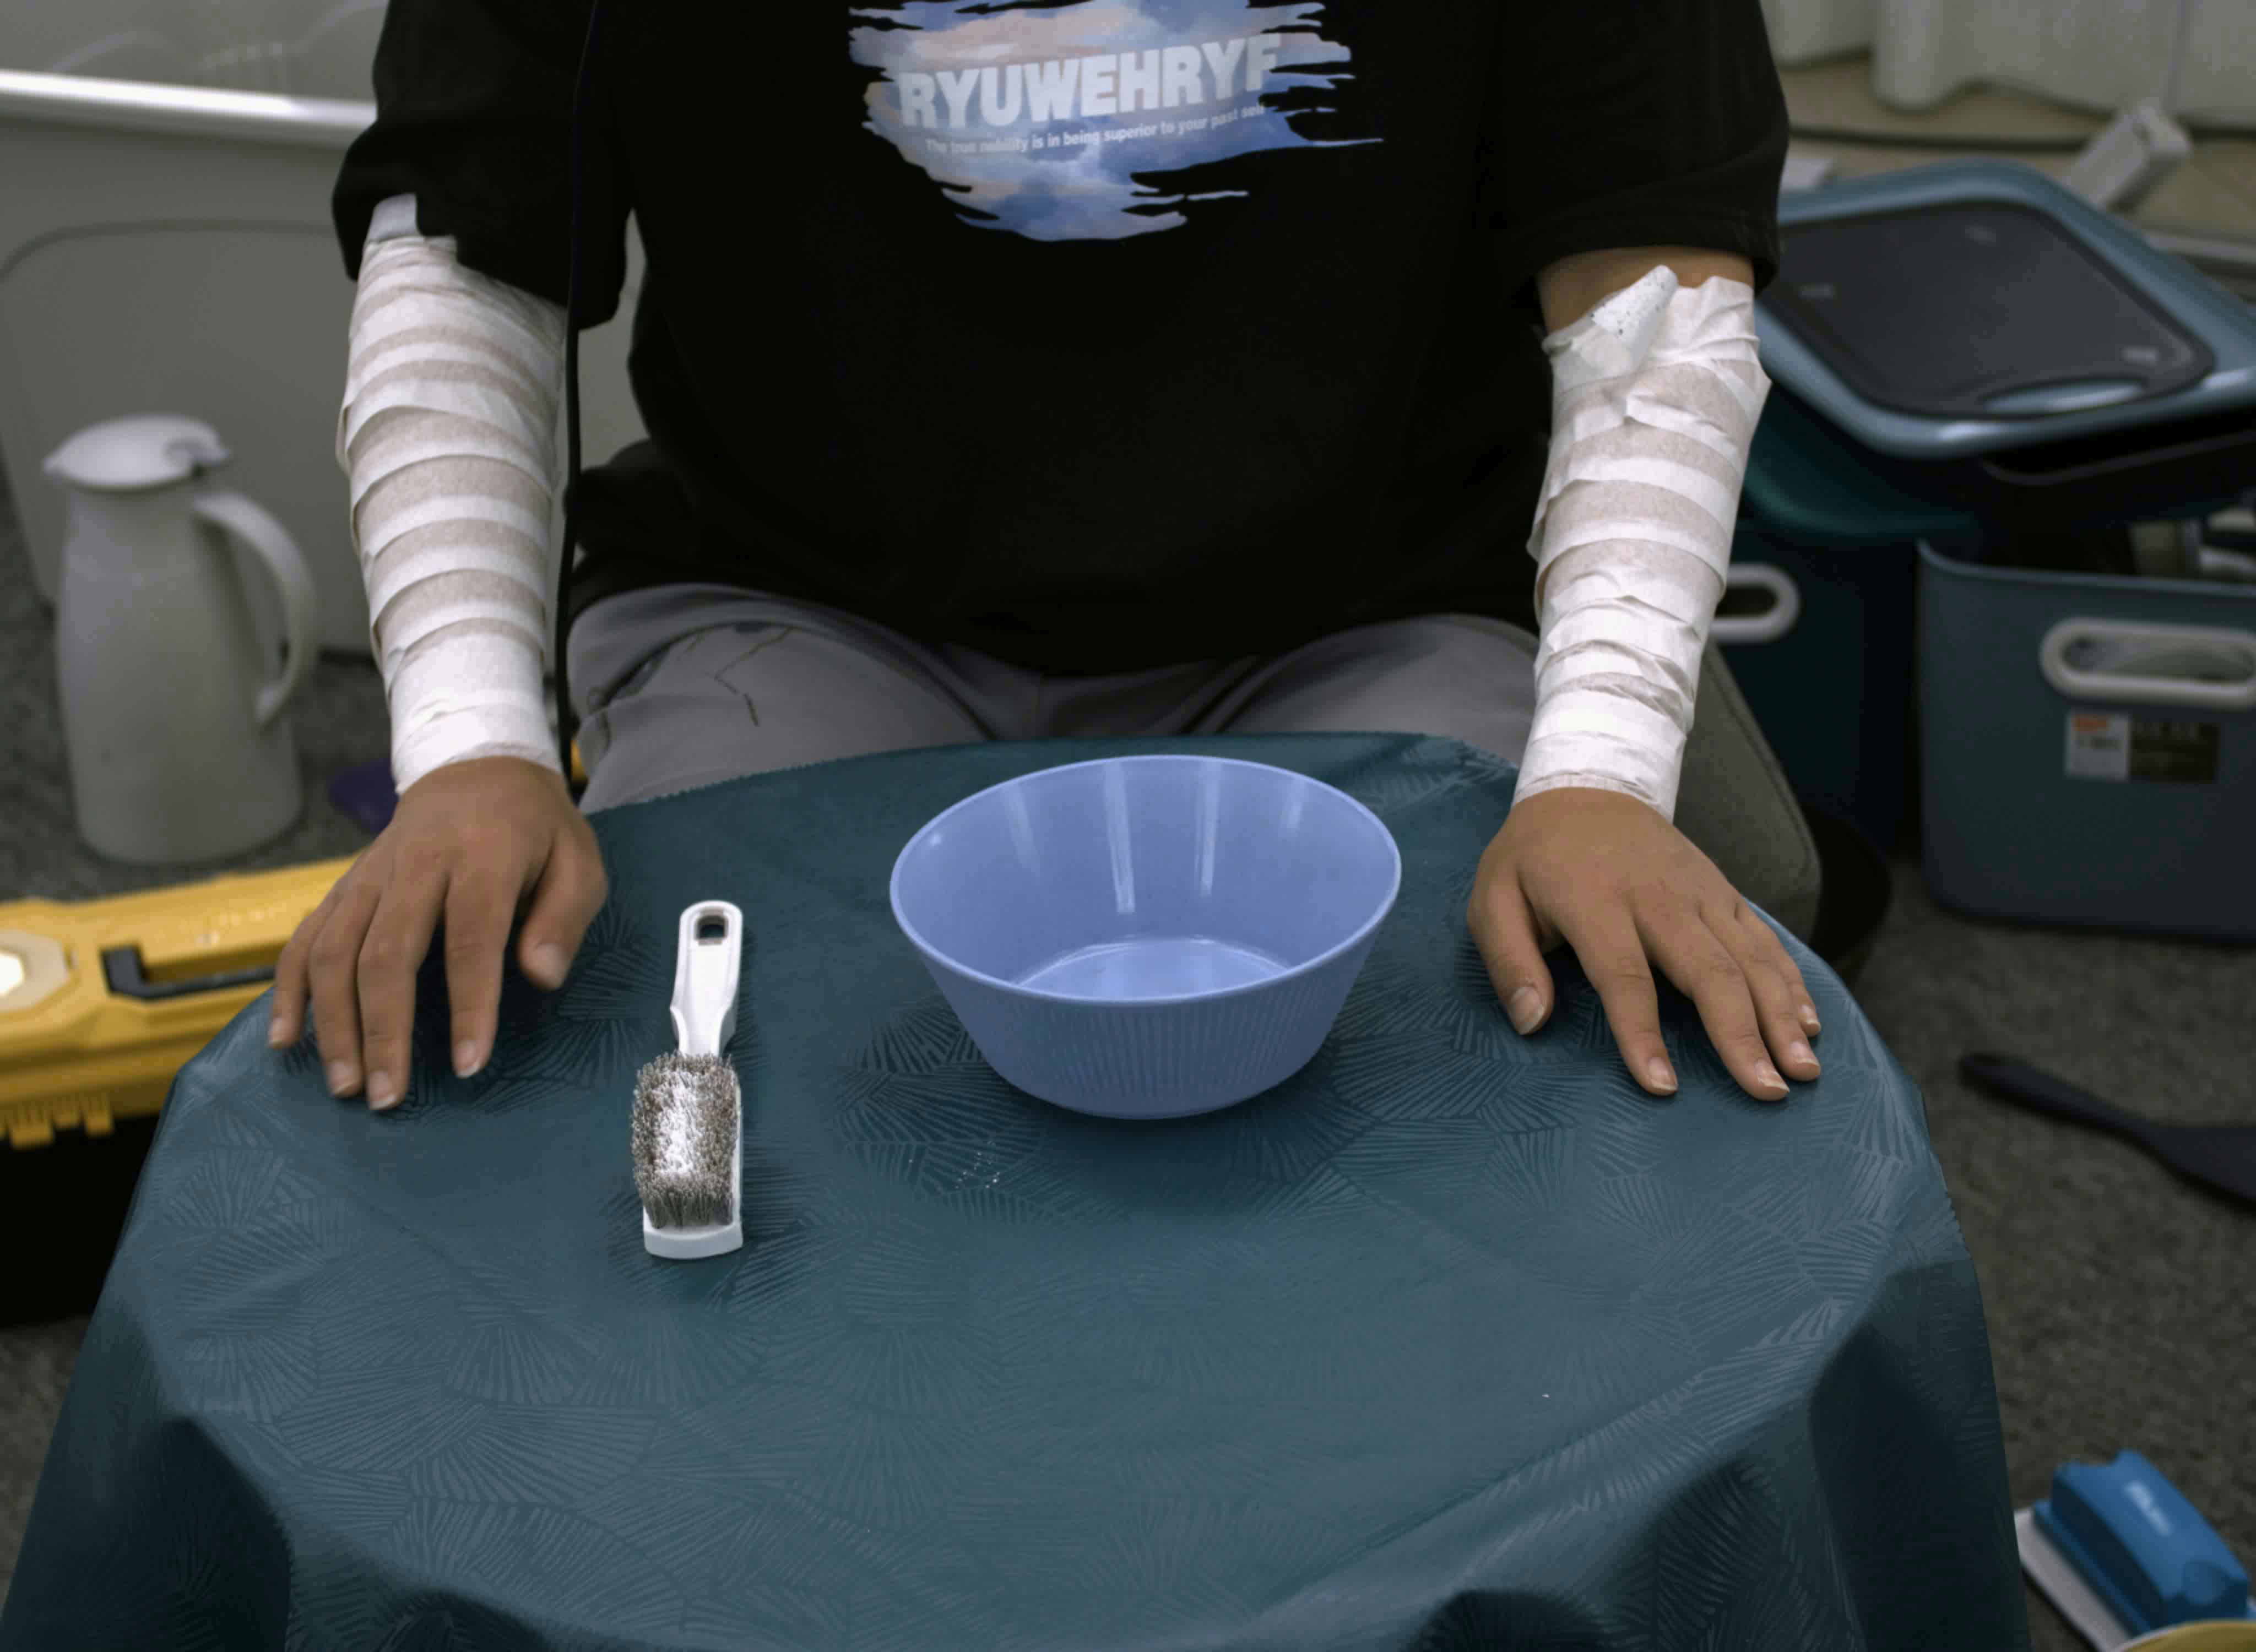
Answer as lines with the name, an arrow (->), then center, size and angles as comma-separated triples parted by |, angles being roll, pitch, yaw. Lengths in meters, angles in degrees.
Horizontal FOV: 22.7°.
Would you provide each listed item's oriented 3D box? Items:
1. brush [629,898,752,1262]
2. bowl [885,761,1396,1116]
brush -> -0.147, 0.069, 1.923 | 0.034, 0.049, 0.247 | -2, 28, 0
bowl -> 0.005, 0.044, 1.935 | 0.175, 0.069, 0.179 | -2, 27, 1
